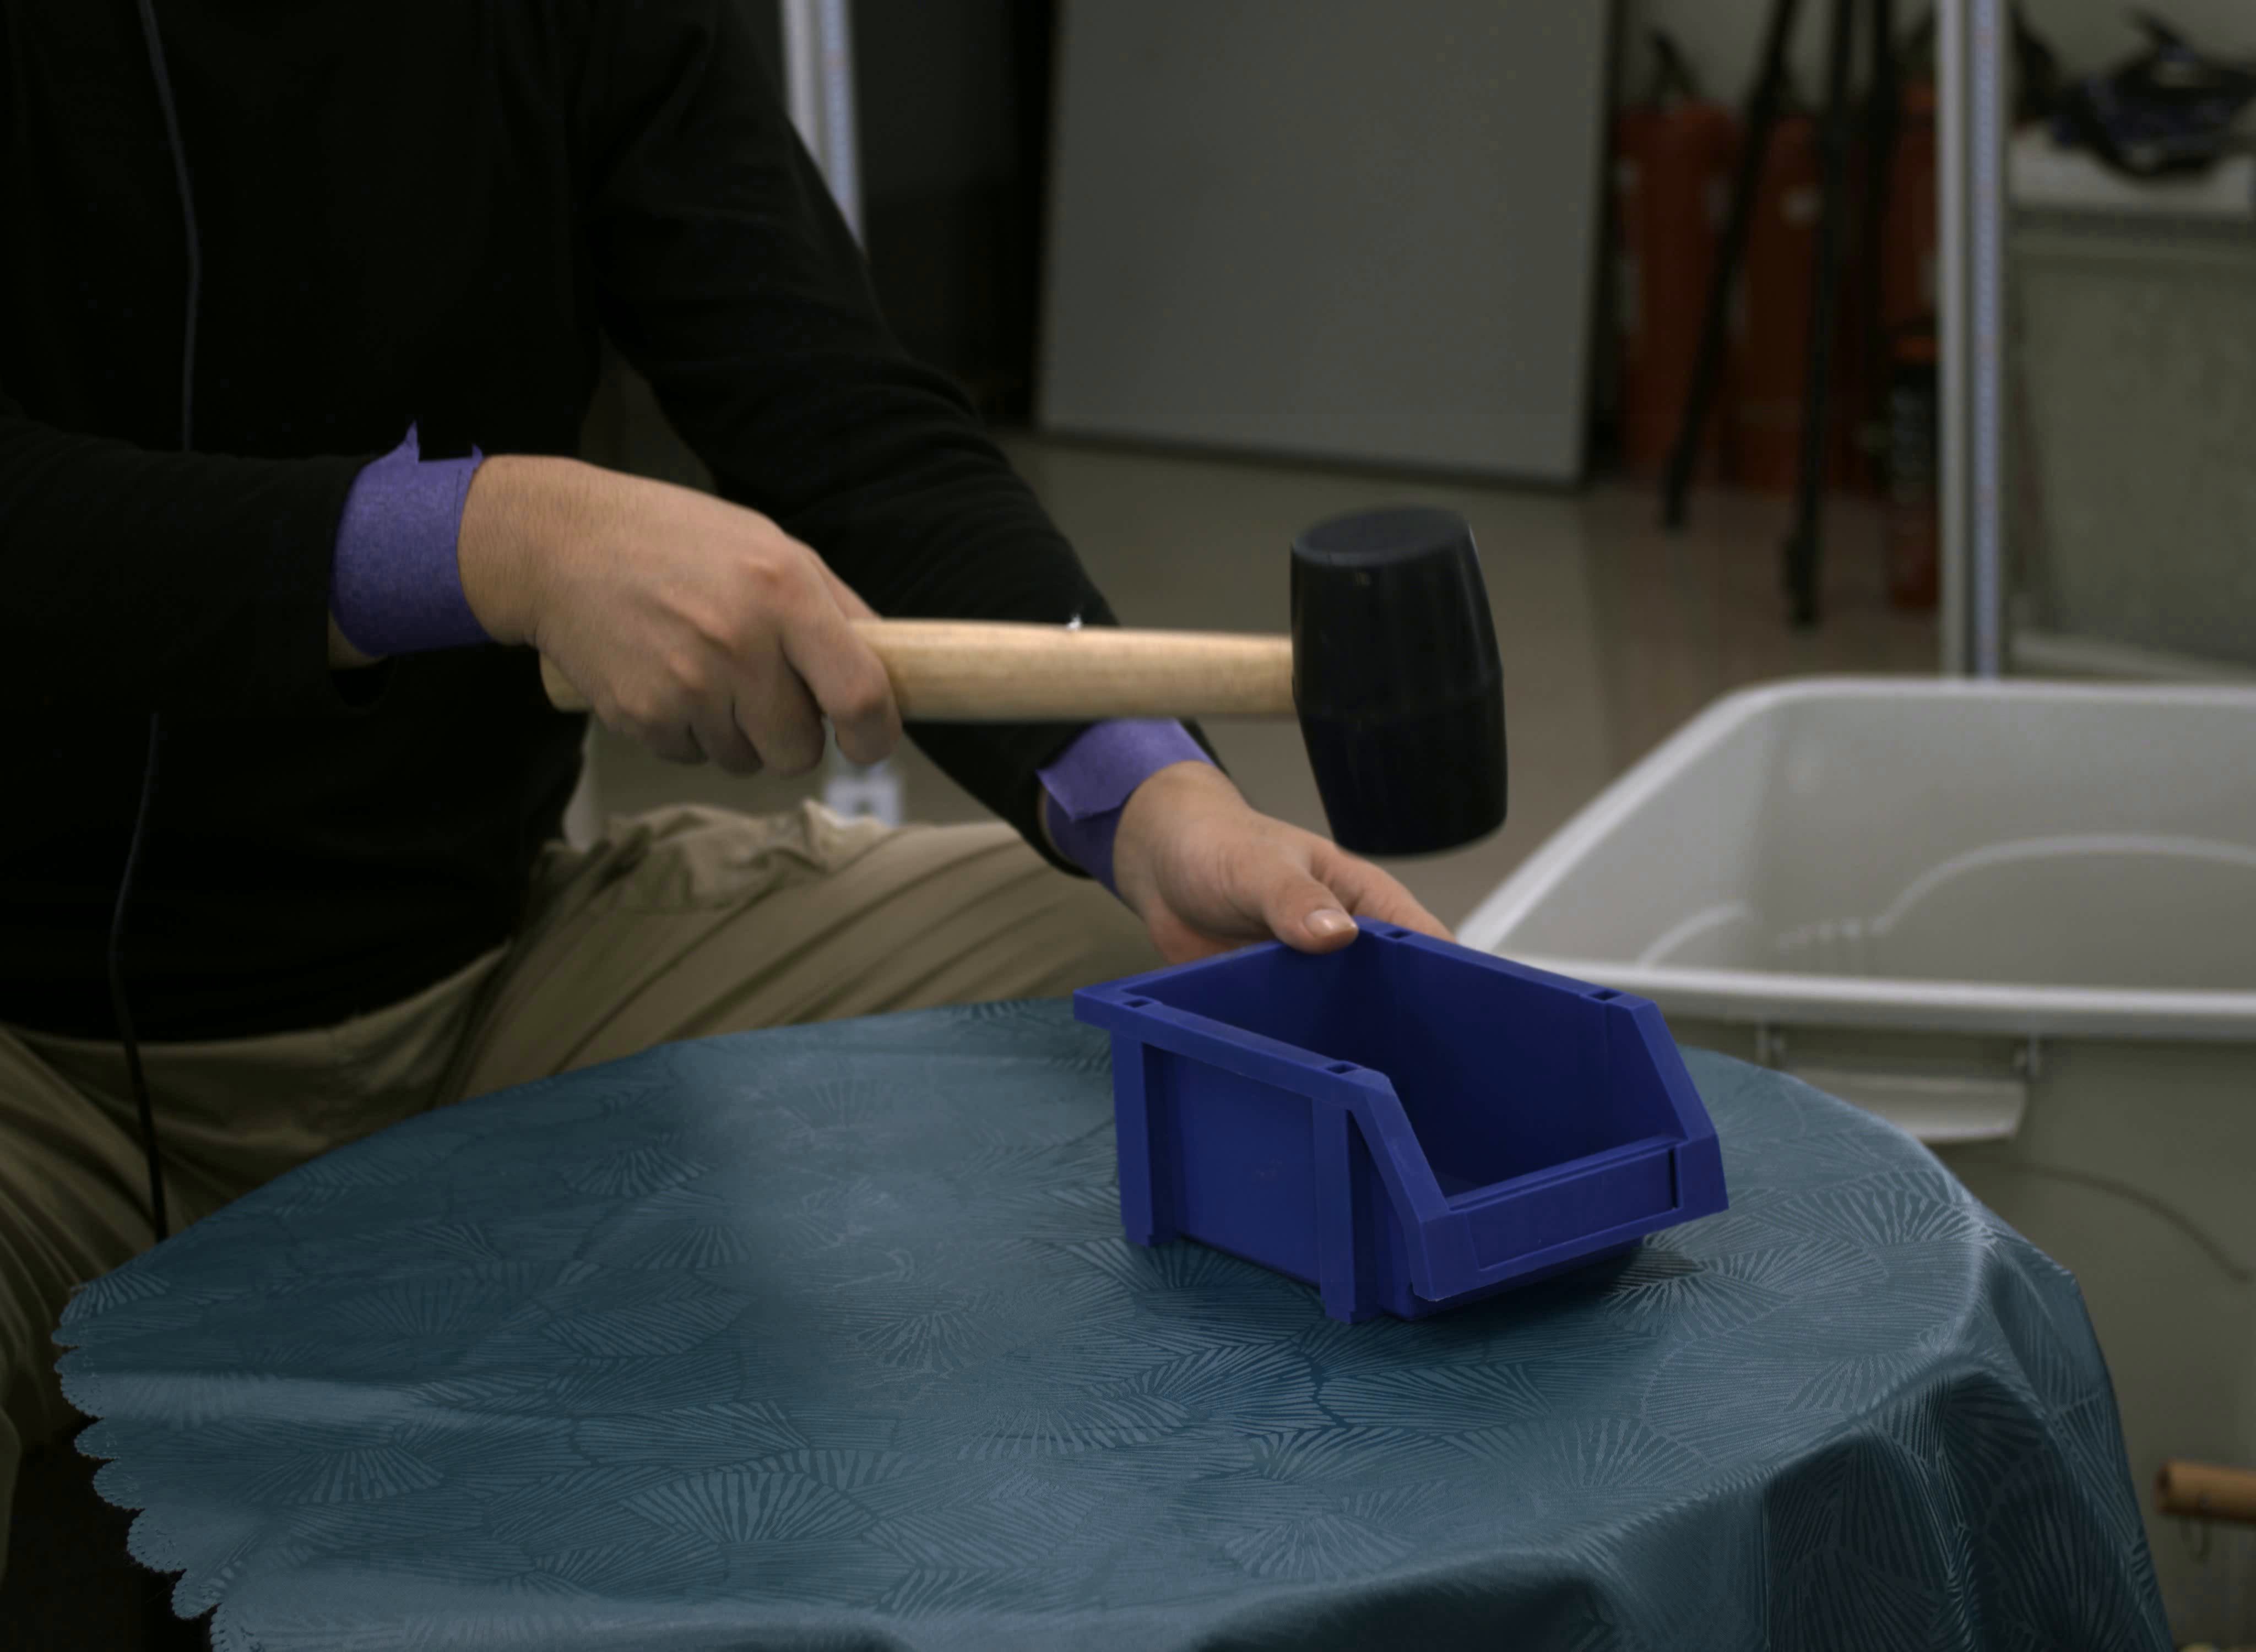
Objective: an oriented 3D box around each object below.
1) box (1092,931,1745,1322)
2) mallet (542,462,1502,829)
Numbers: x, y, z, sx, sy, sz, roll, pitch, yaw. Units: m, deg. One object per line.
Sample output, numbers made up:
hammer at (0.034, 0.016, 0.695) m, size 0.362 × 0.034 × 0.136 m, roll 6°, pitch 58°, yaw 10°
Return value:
box at (0.091, 0.094, 1.686) m, size 0.122 × 0.083 × 0.181 m, roll -13°, pitch 12°, yaw -32°
mallet at (-0.036, -0.058, 1.708) m, size 0.340 × 0.103 × 0.063 m, roll 1°, pitch 19°, yaw 33°
